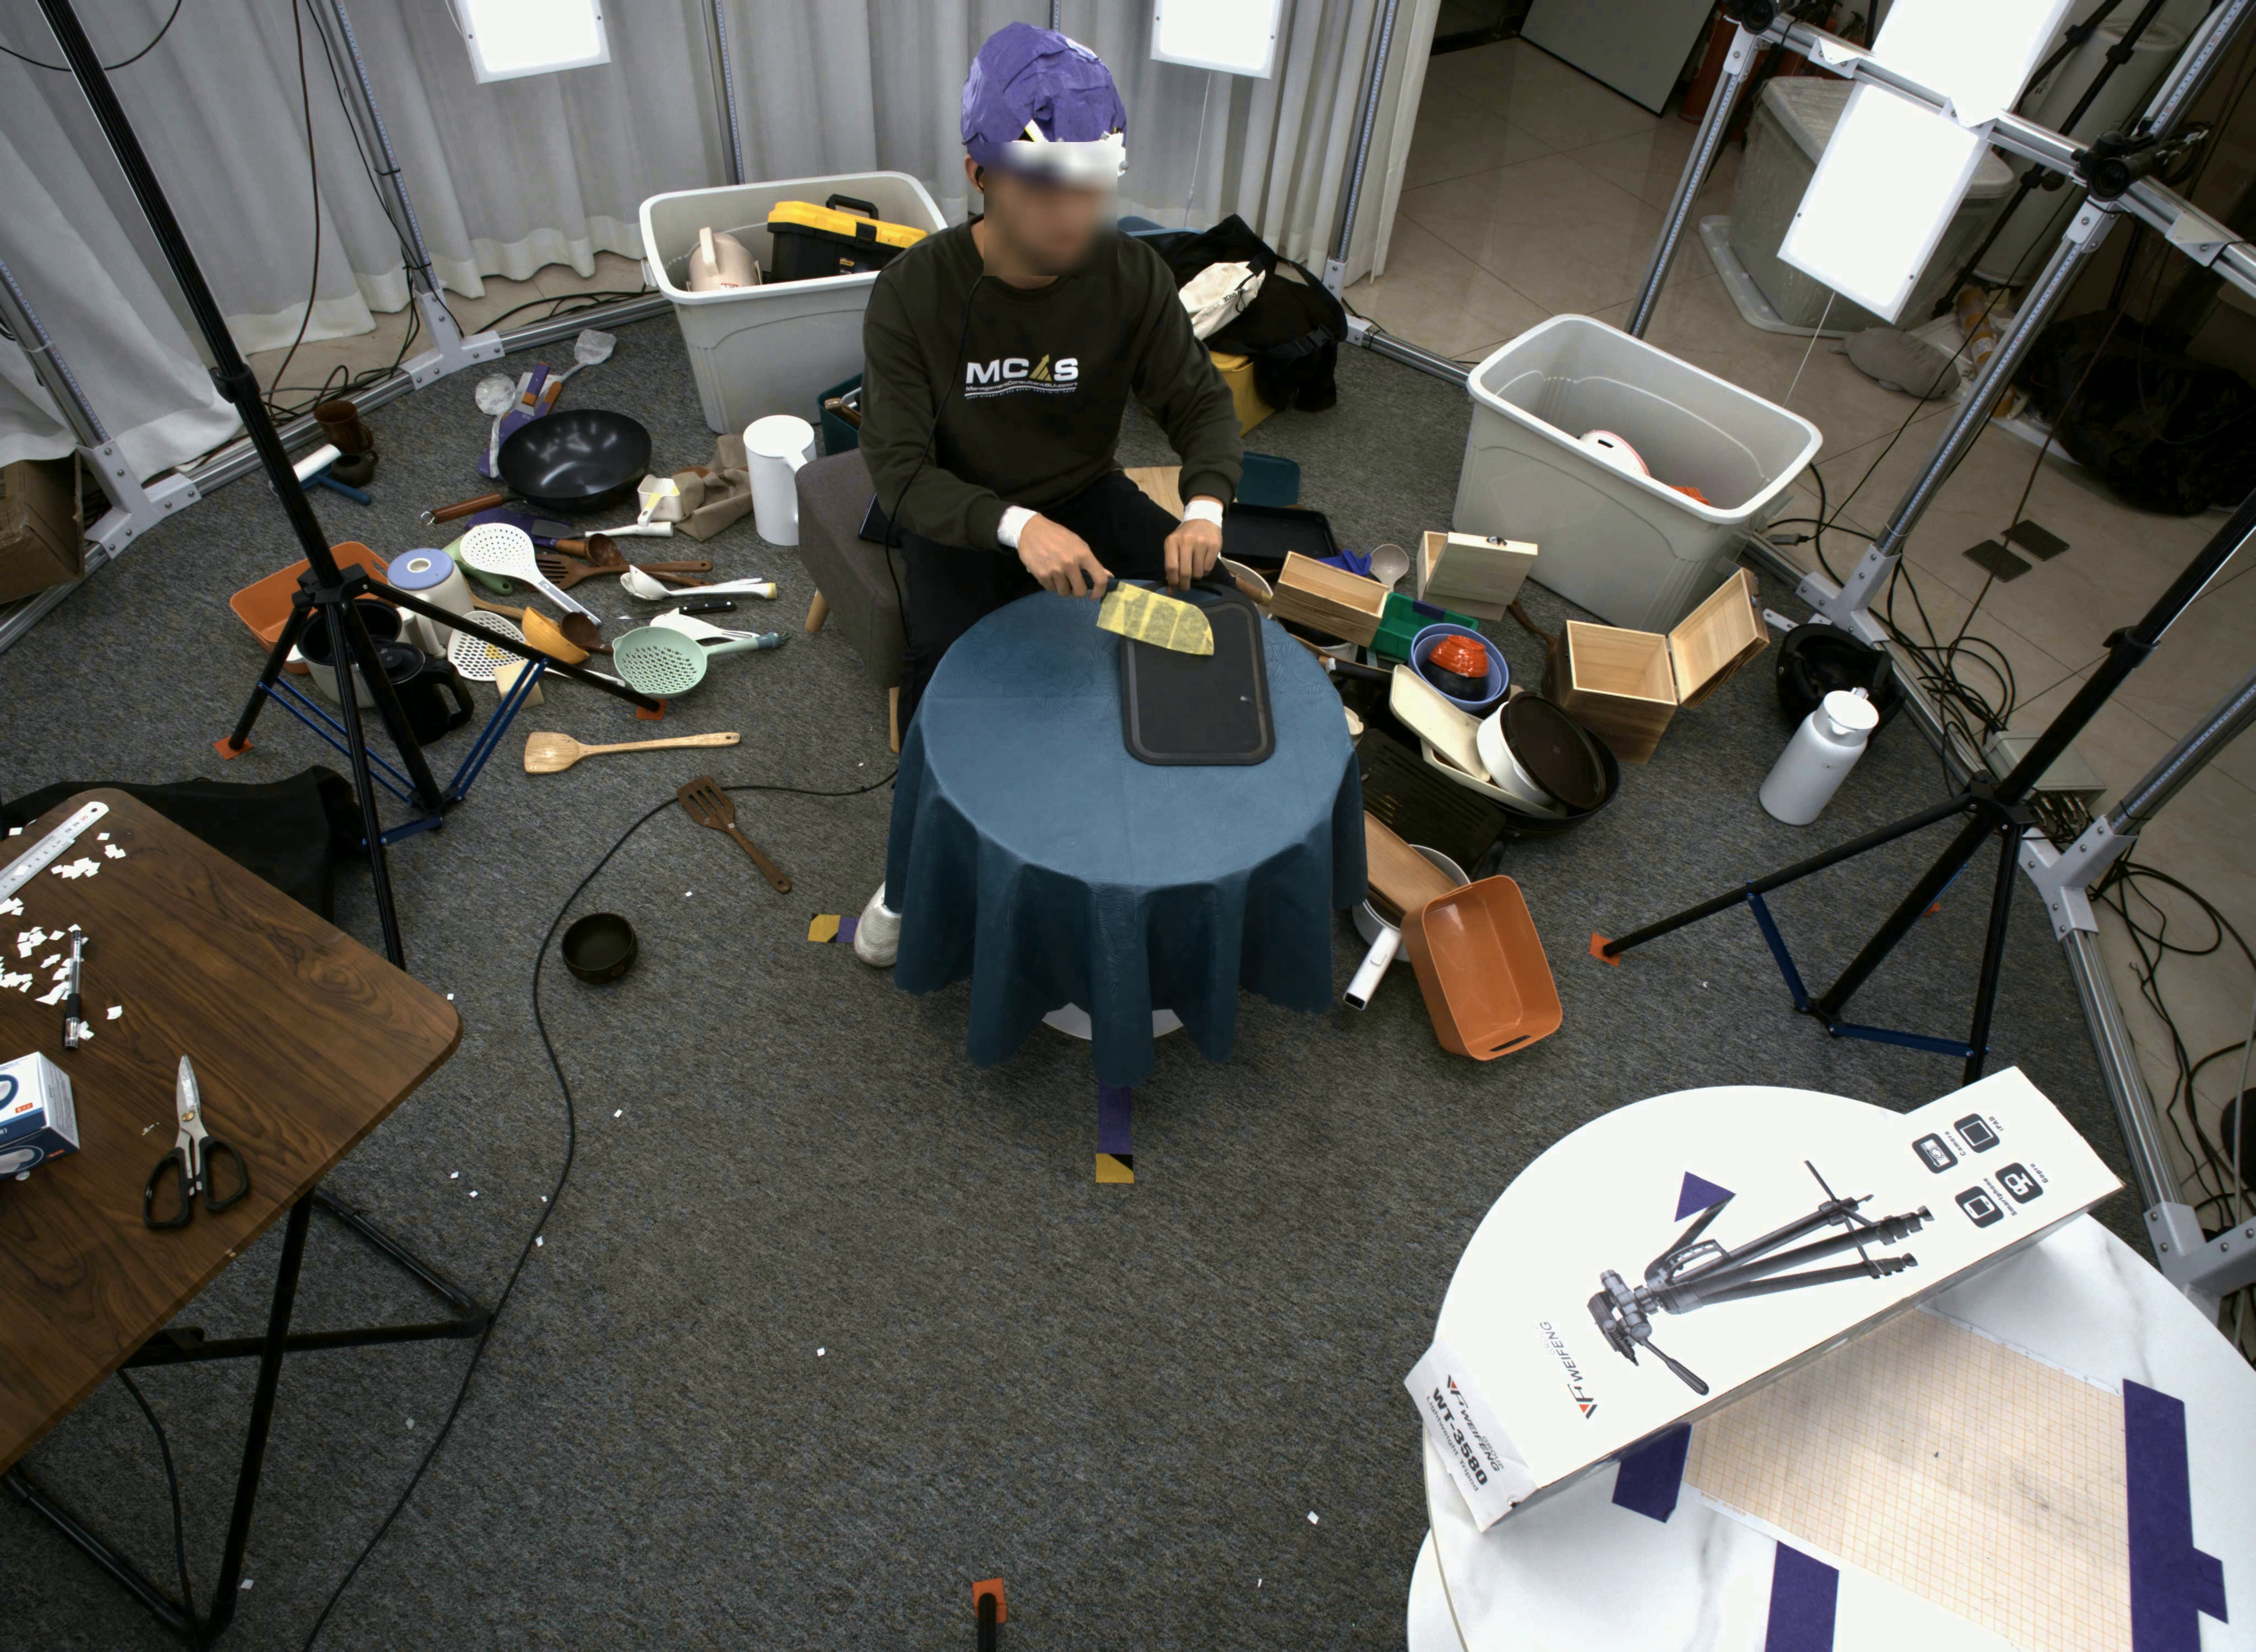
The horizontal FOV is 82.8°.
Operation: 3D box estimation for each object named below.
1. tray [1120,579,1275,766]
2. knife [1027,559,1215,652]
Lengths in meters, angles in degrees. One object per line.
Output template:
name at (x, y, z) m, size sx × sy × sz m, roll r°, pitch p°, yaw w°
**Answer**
tray at (0.095, -0.226, 1.830) m, size 0.211 × 0.009 × 0.333 m, roll 1°, pitch 59°, yaw -5°
knife at (-0.011, -0.316, 1.837) m, size 0.289 × 0.080 × 0.027 m, roll 20°, pitch 18°, yaw 0°
